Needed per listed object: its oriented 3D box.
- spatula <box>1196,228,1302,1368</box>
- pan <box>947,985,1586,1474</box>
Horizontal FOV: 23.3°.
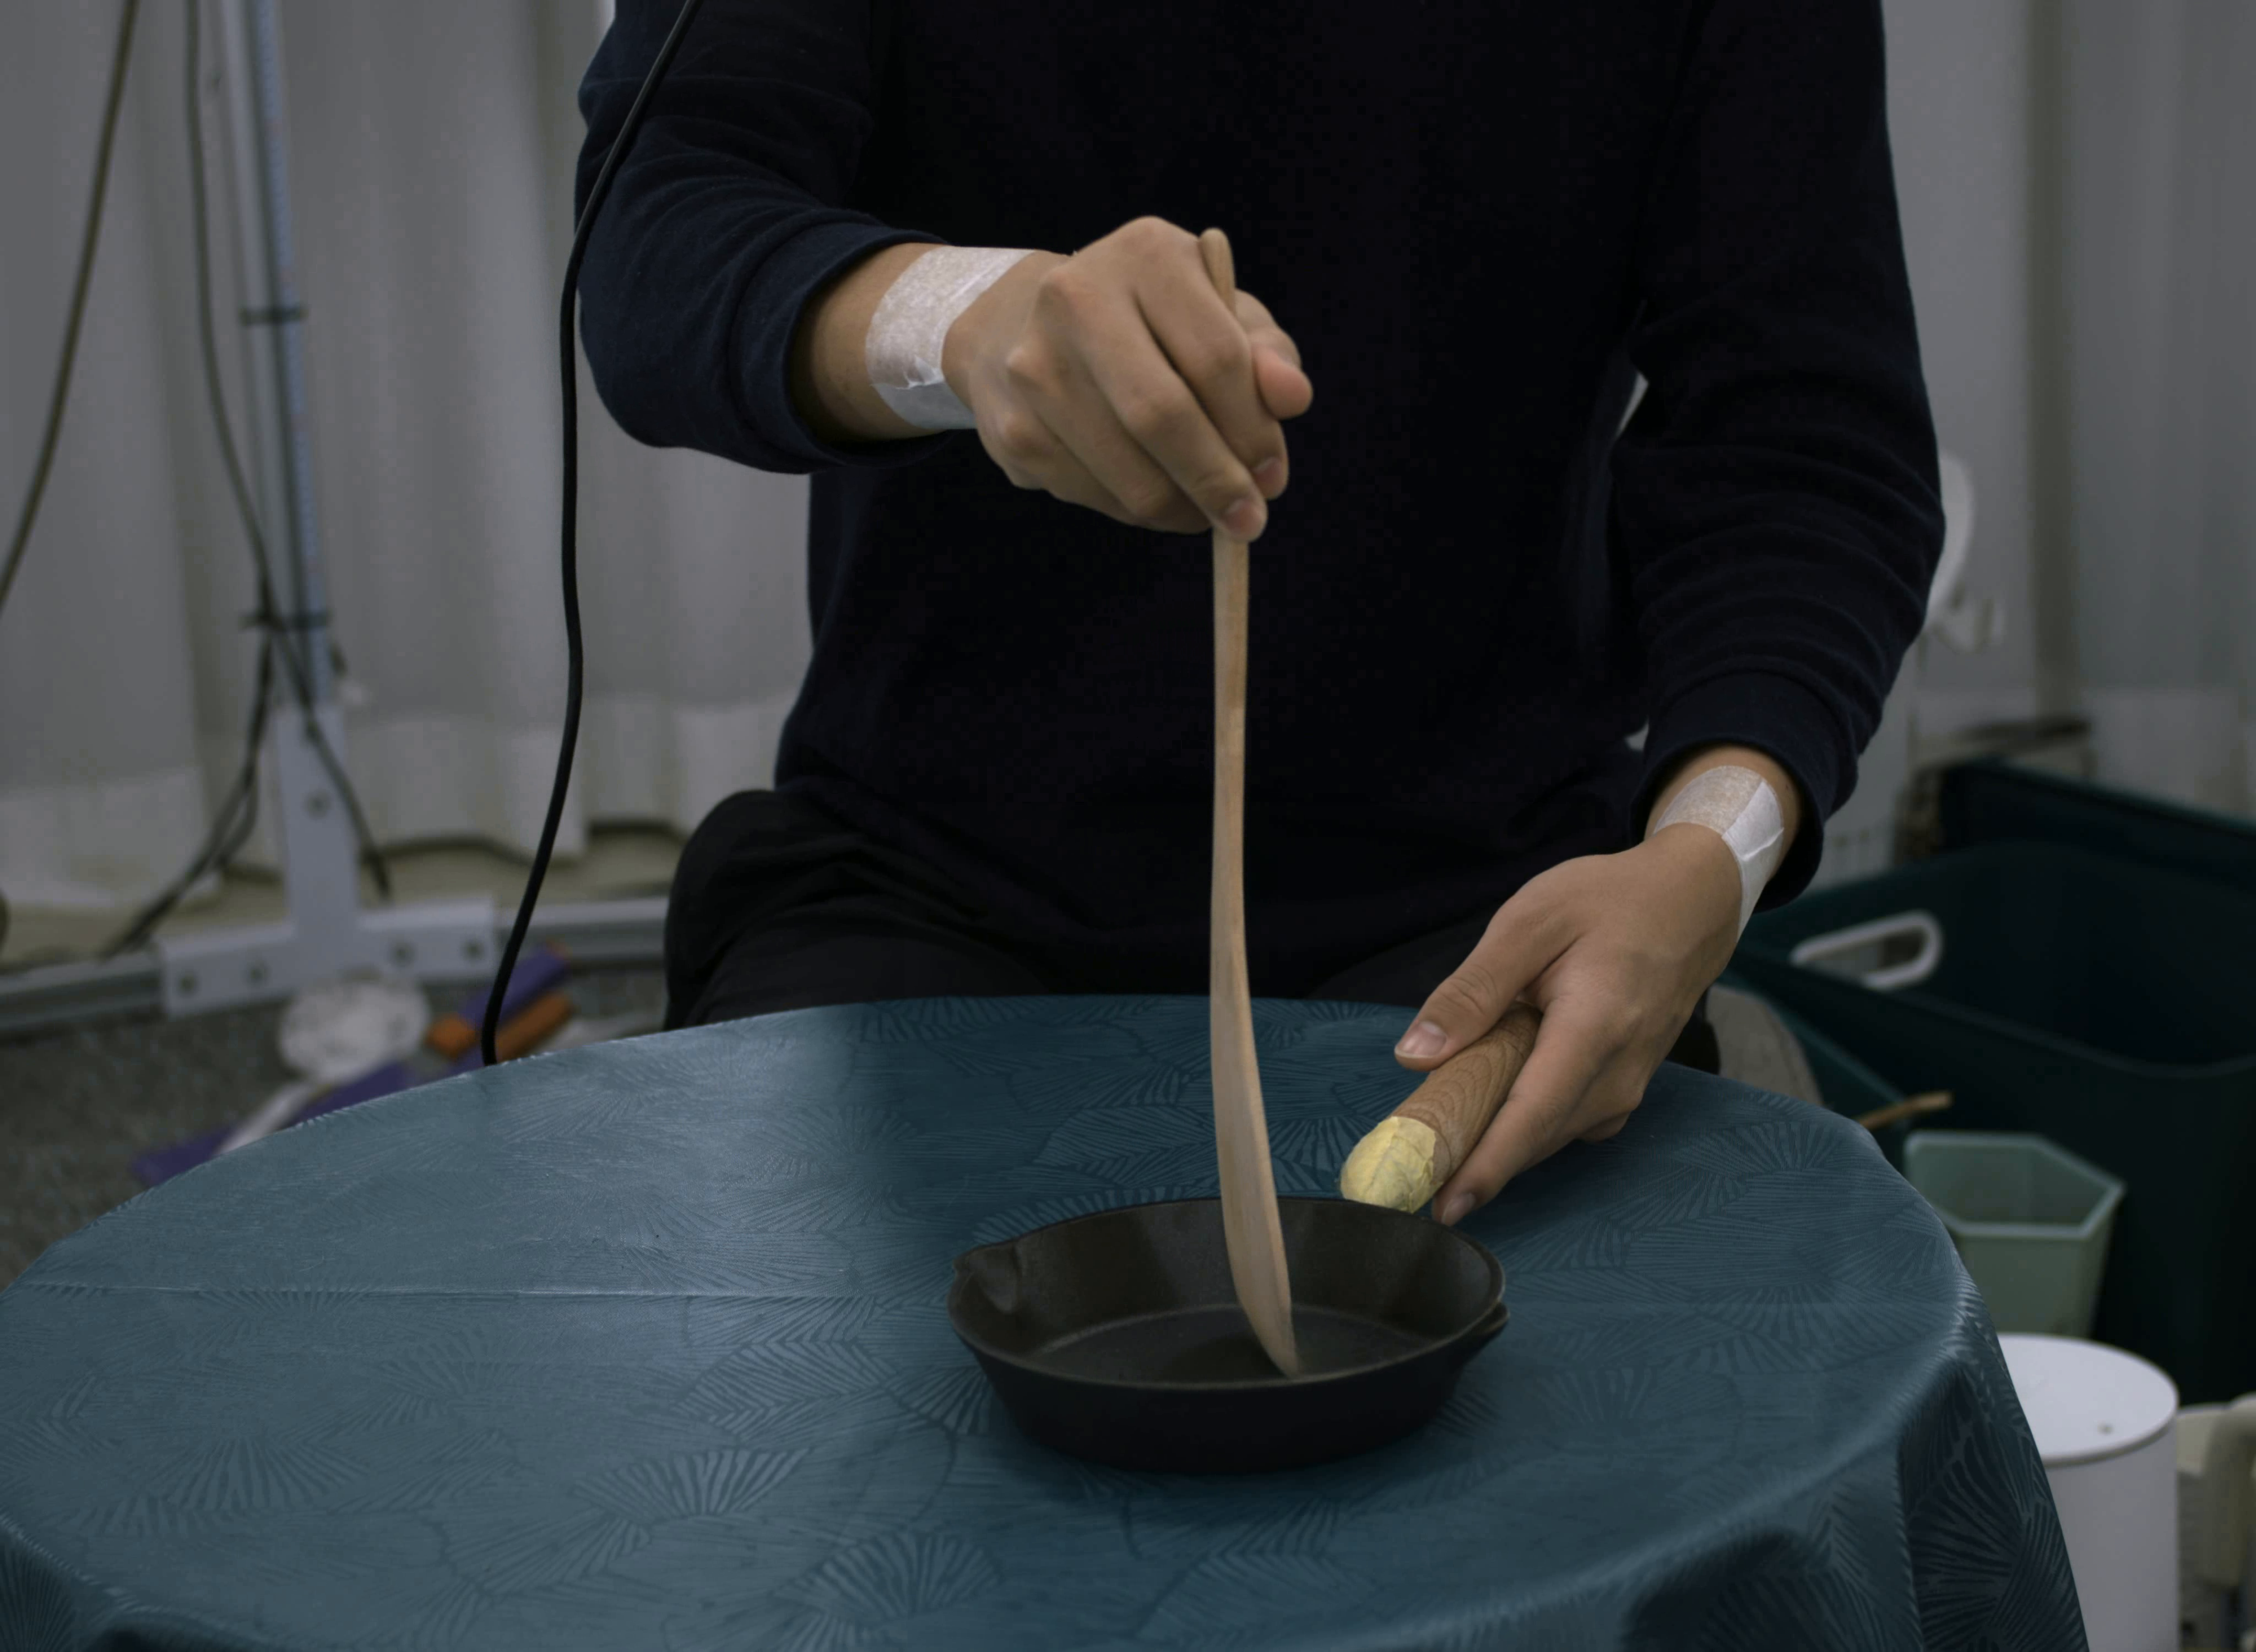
[{"bbox_3d":[0.032,-0.002,1.529,0.016,0.327,0.080,-3,6,-11],"label":"spatula"},{"bbox_3d":[0.067,0.115,1.604,0.169,0.049,0.325,5,18,28],"label":"pan"}]
